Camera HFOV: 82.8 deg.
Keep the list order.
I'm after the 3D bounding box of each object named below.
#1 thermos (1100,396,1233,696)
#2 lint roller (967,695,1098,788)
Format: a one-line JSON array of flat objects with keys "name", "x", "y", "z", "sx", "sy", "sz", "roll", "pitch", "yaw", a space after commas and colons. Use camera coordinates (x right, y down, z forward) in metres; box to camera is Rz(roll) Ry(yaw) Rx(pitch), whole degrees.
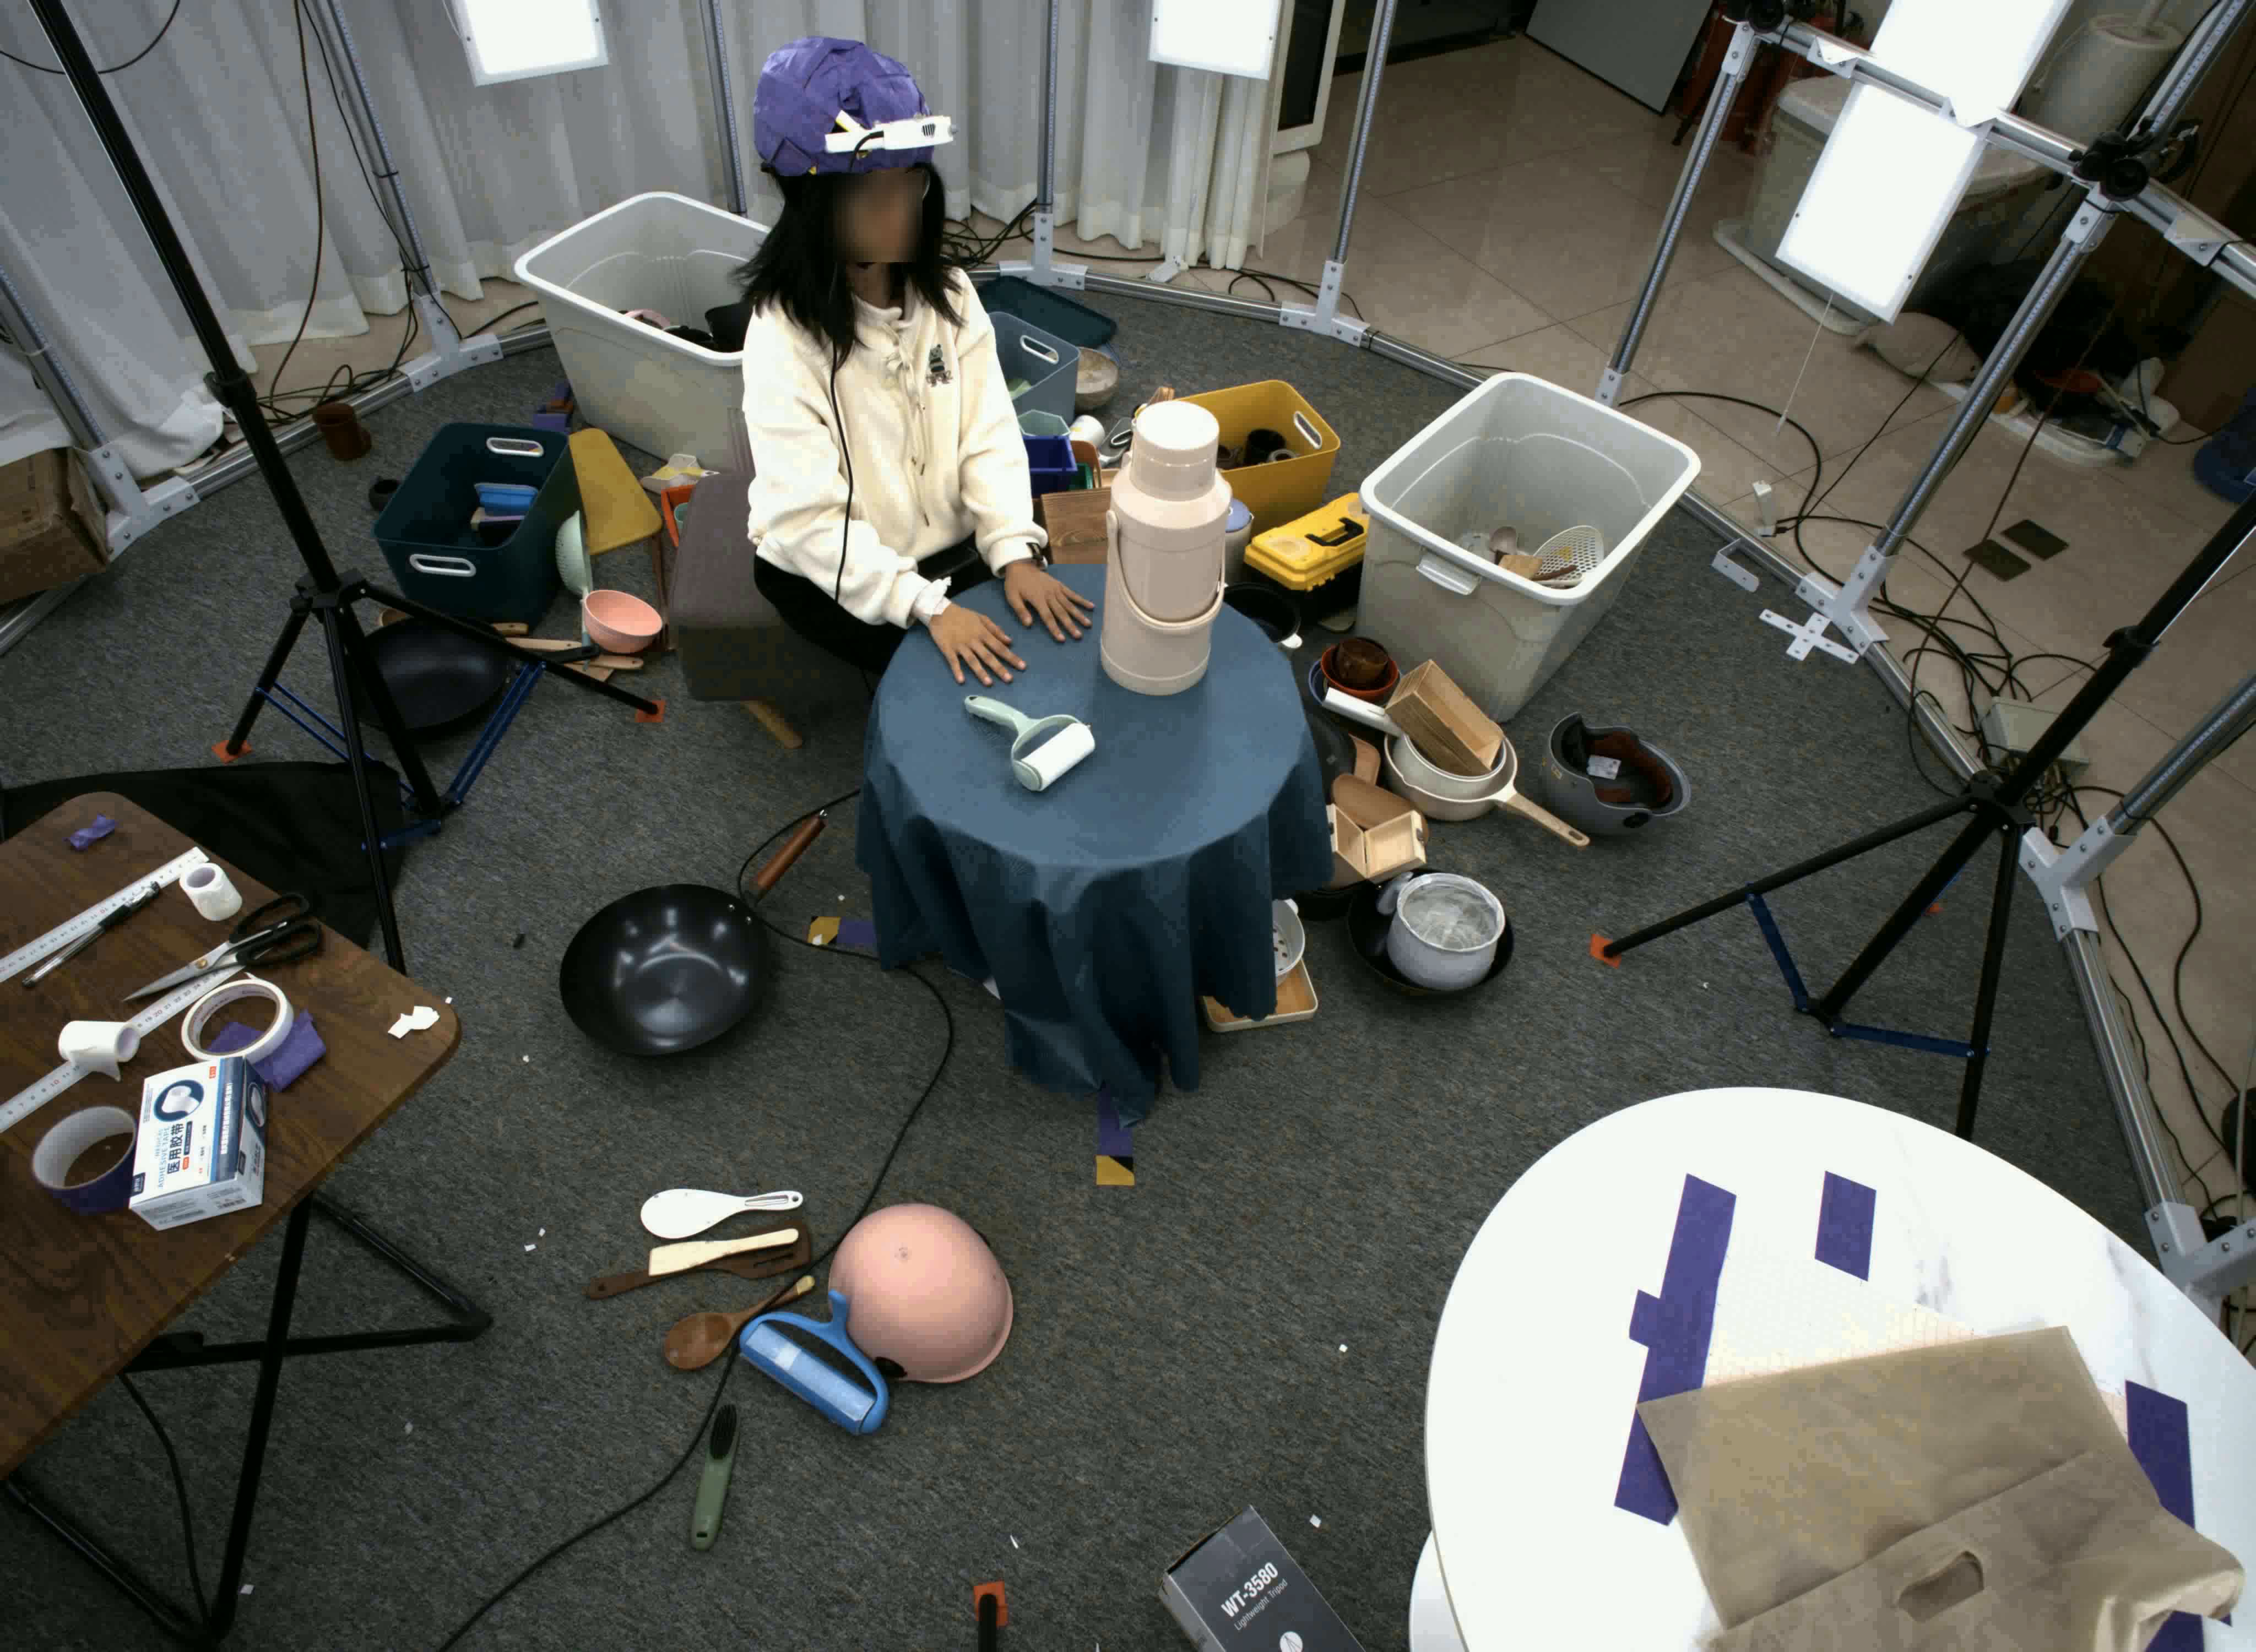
[{"name": "thermos", "x": 0.045, "y": -0.383, "z": 1.749, "sx": 0.175, "sy": 0.396, "sz": 0.211, "roll": -19, "pitch": 53, "yaw": -19}, {"name": "lint roller", "x": -0.145, "y": -0.137, "z": 1.750, "sx": 0.200, "sy": 0.047, "sz": 0.118, "roll": 36, "pitch": 58, "yaw": 24}]
